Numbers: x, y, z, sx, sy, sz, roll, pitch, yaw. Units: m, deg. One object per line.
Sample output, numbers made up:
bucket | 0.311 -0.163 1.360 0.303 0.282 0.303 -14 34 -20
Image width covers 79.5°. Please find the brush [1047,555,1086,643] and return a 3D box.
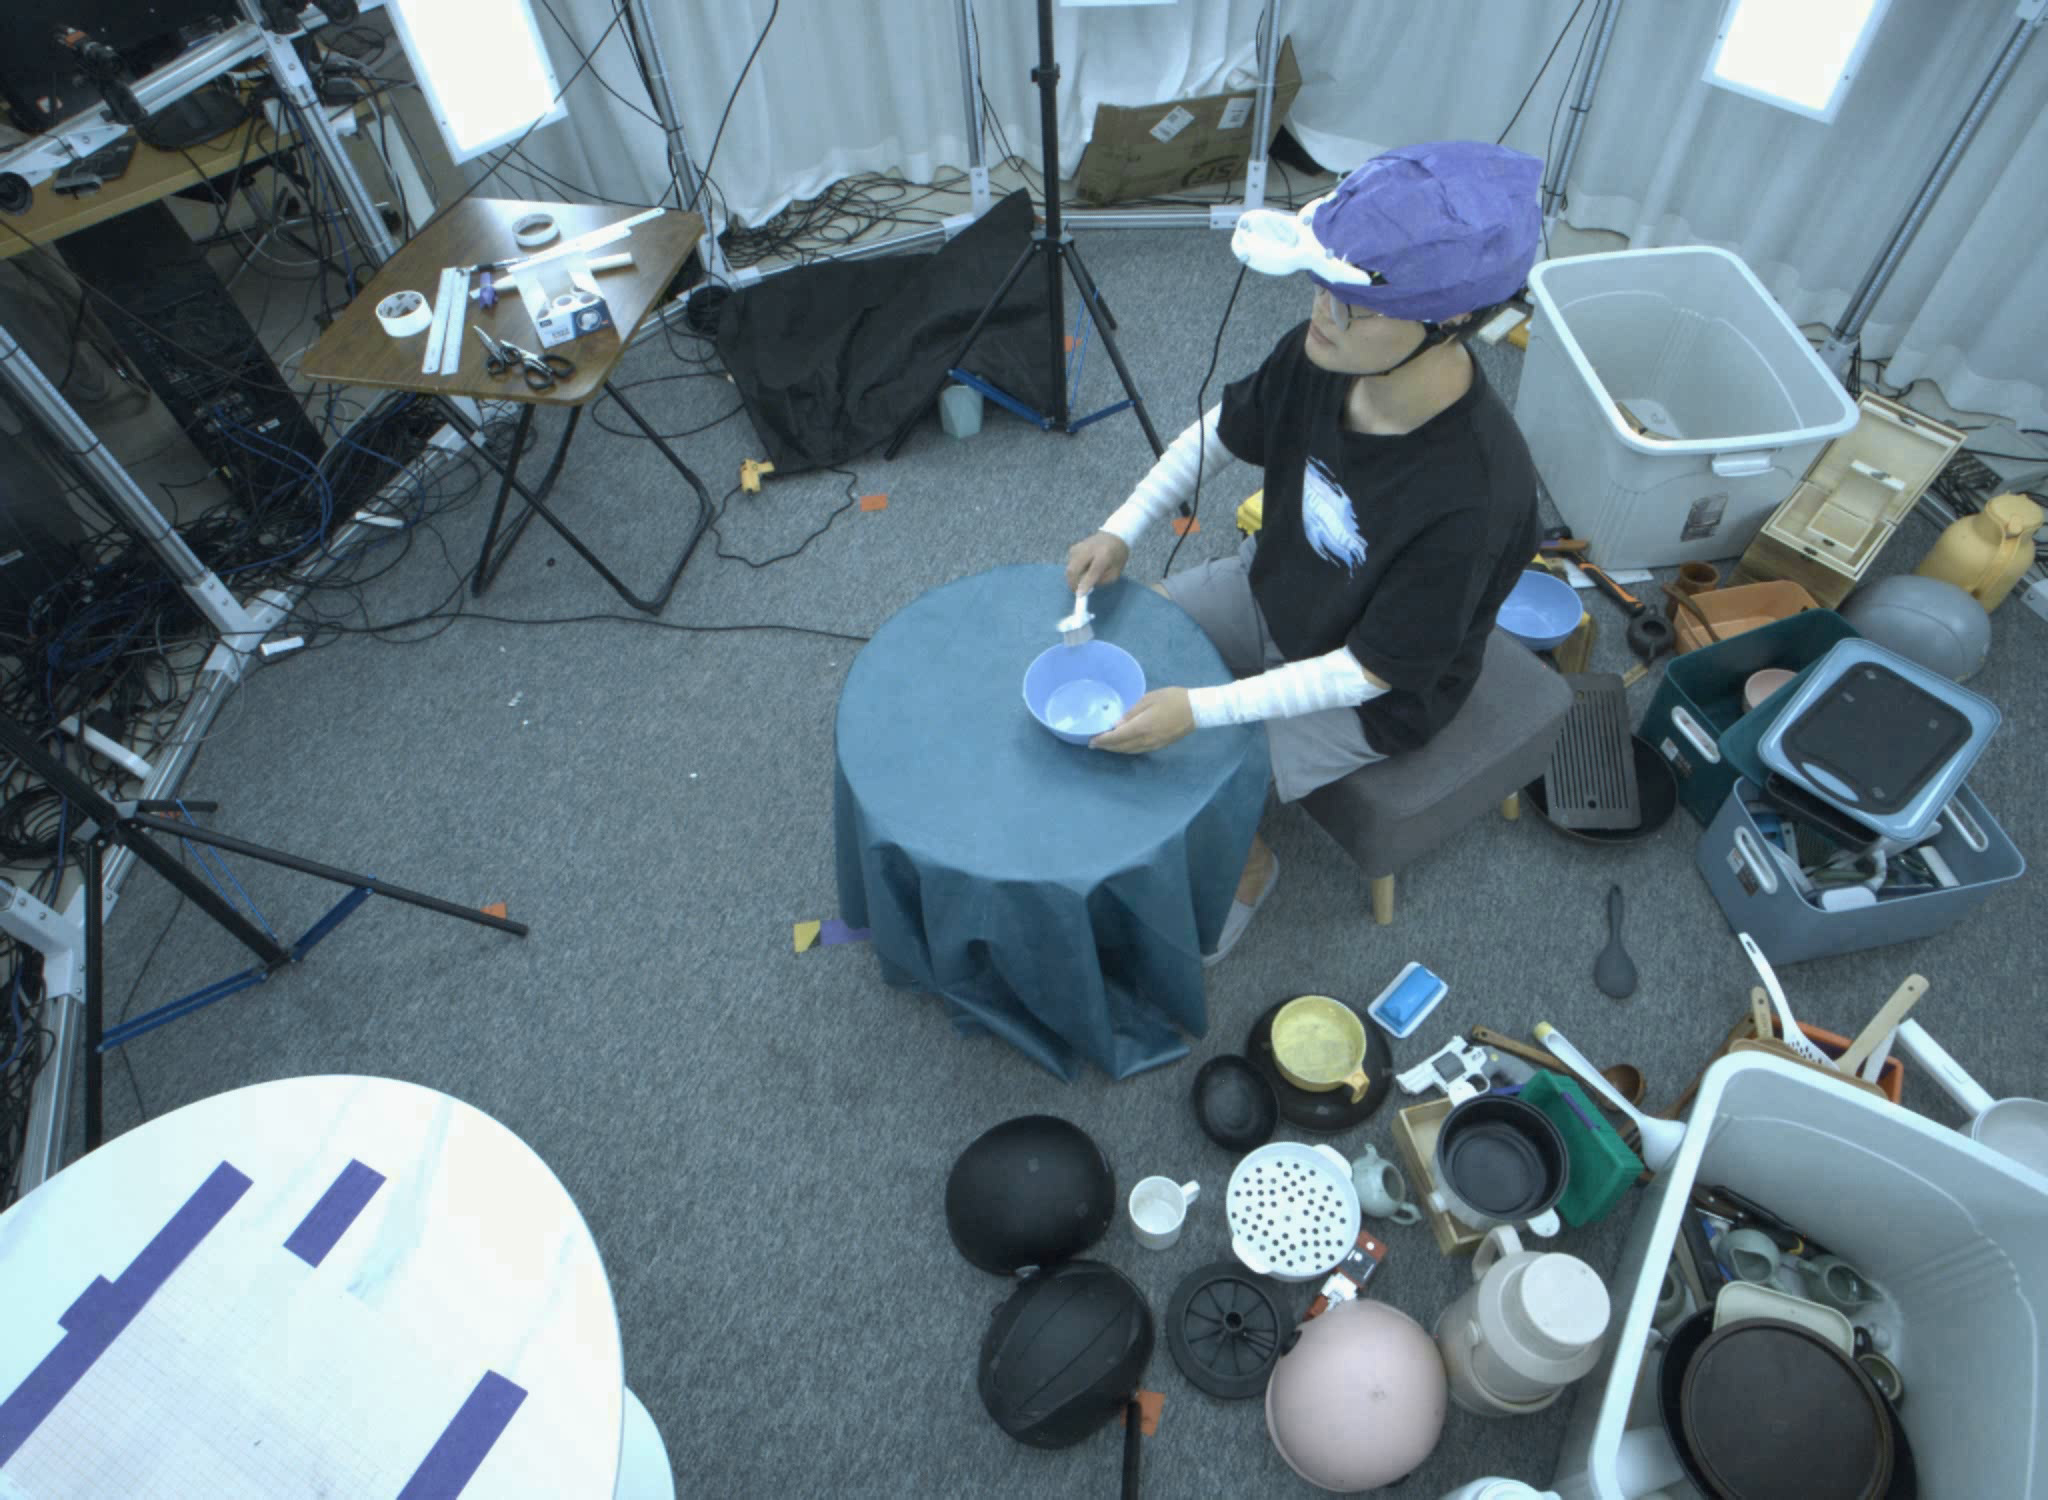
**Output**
brush | 0.074 -0.227 1.861 0.034 0.051 0.242 -13 29 20

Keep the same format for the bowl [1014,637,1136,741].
bowl | 0.074 -0.079 1.788 0.176 0.071 0.174 0 55 1
